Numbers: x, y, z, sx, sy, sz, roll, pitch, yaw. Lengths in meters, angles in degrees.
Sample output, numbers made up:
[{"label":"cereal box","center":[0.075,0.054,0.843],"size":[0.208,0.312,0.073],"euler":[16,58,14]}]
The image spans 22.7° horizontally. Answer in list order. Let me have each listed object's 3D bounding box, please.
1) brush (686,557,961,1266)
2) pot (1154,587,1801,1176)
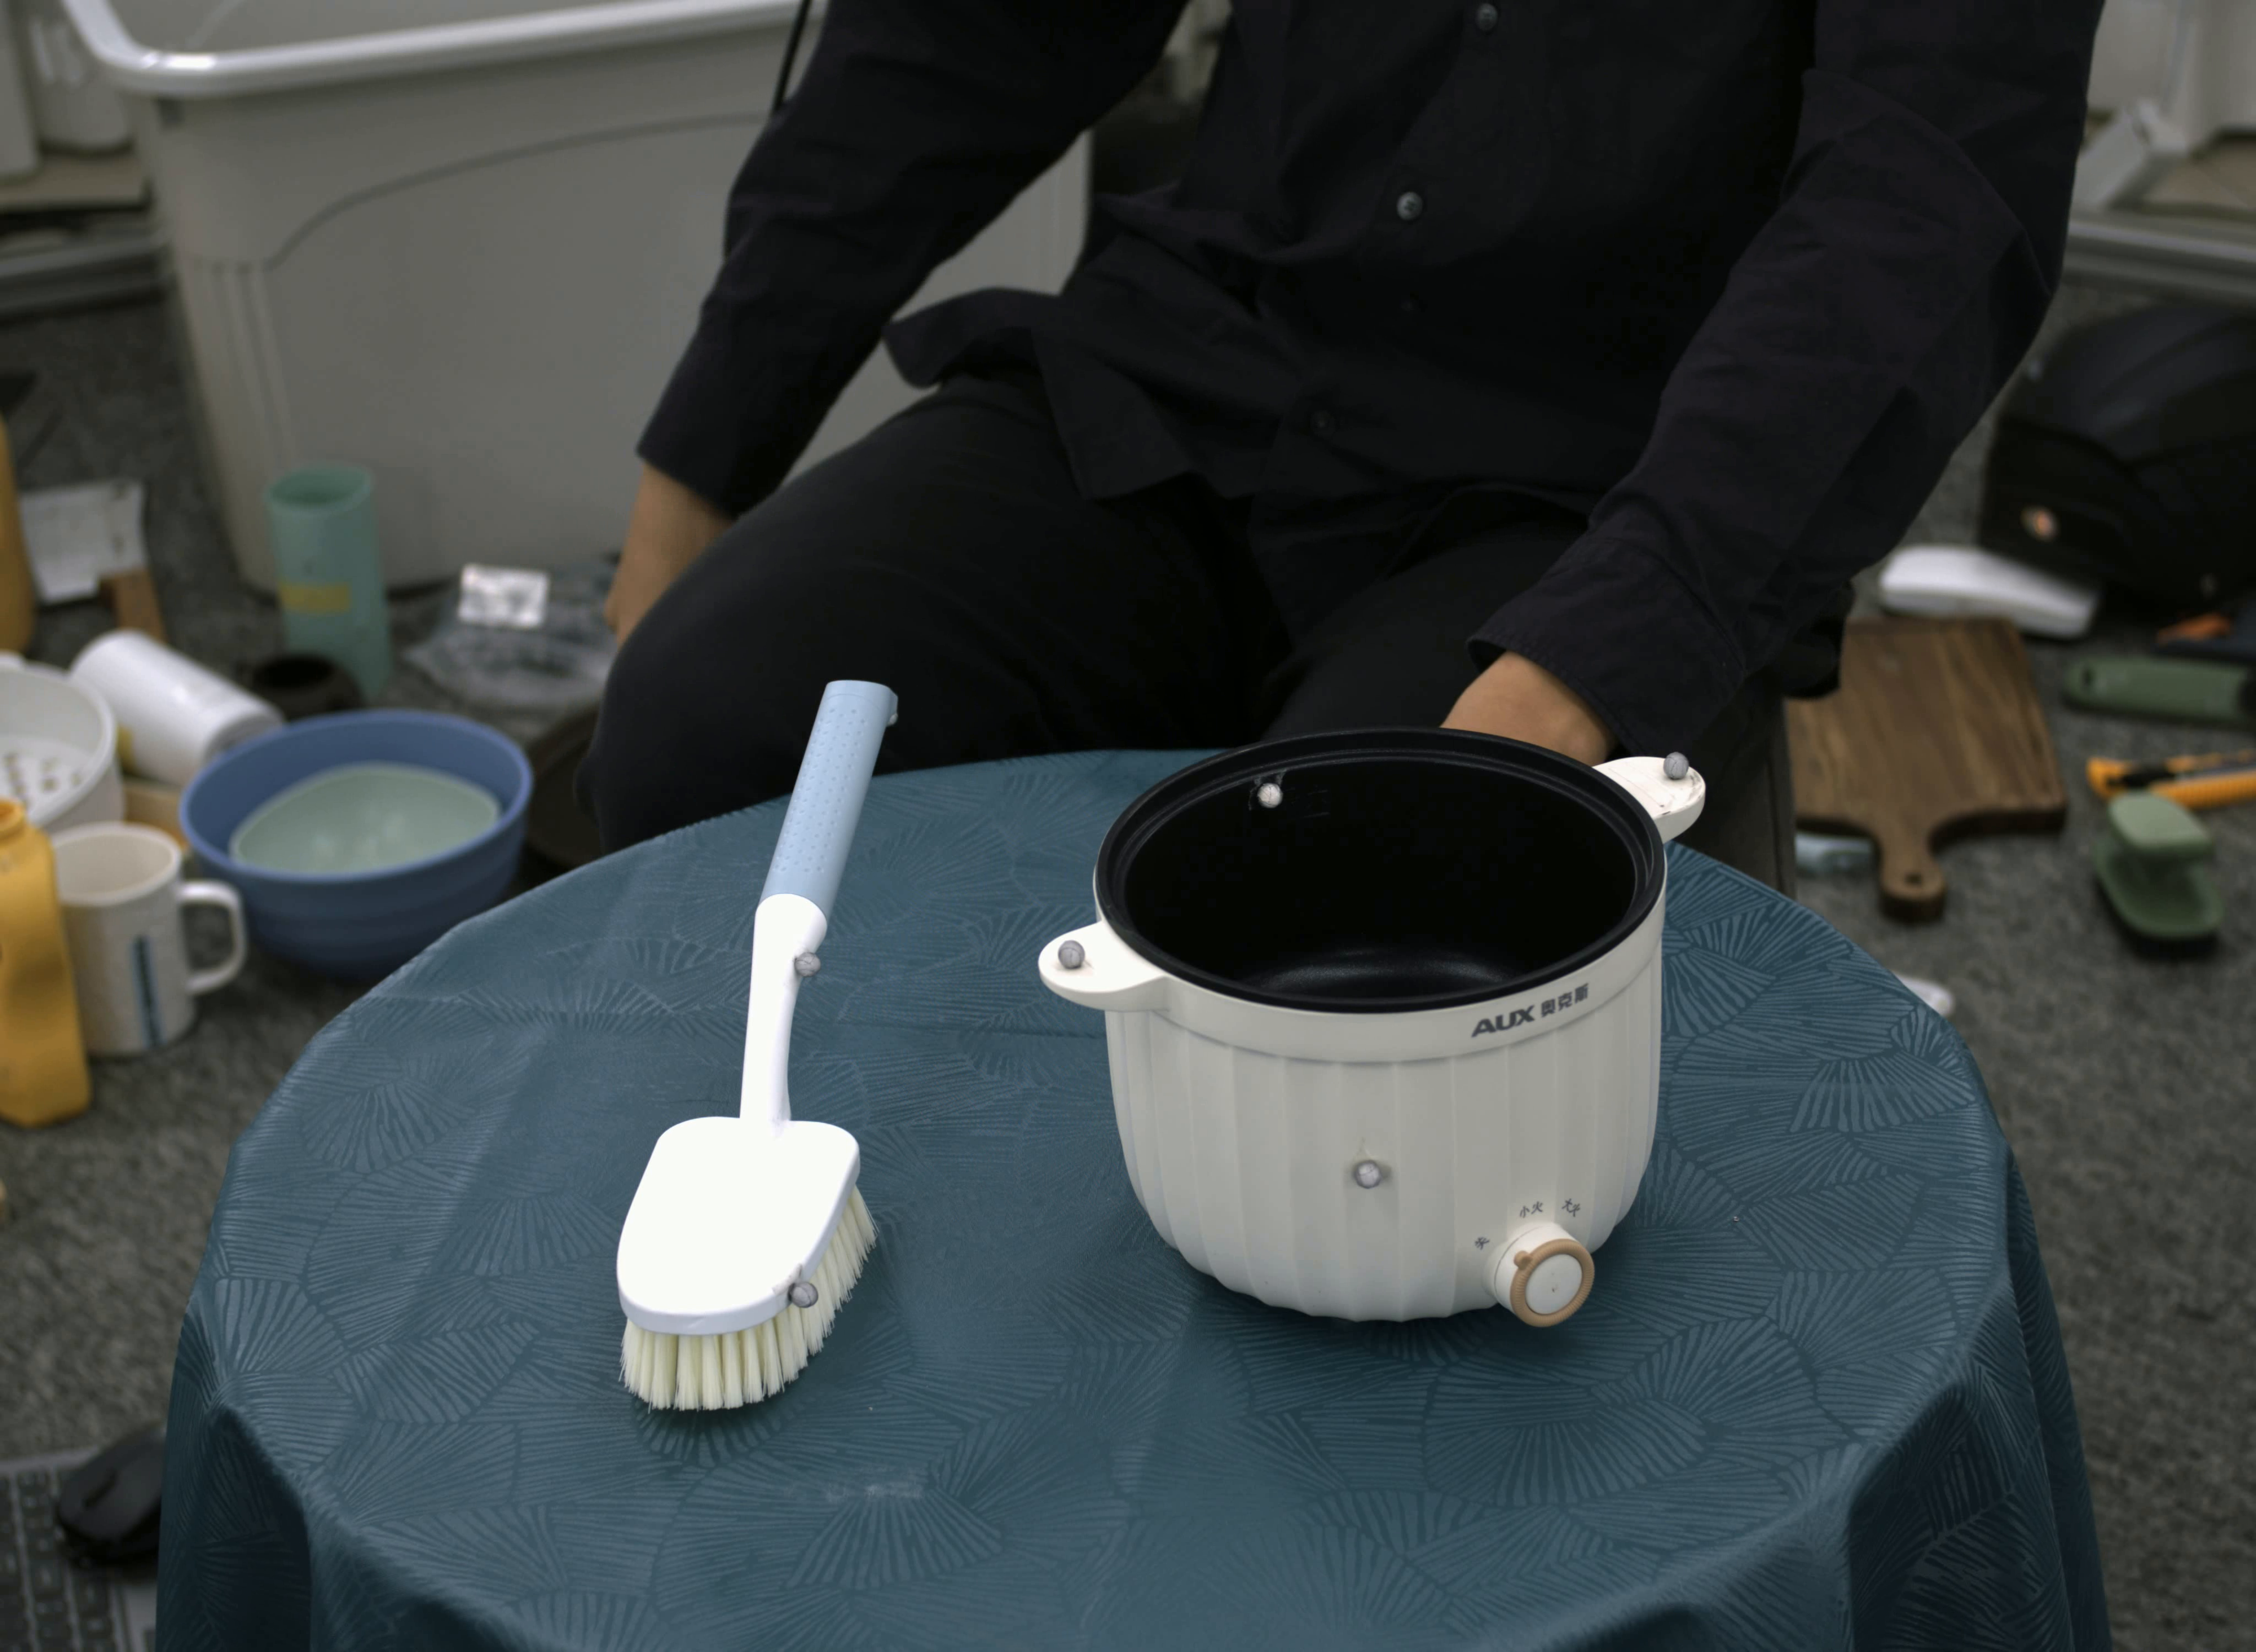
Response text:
[{"label":"brush","center":[-0.087,0.037,1.886],"size":[0.083,0.083,0.332],"euler":[30,38,-14]},{"label":"pot","center":[0.121,0.024,1.820],"size":[0.242,0.141,0.191],"euler":[-19,29,-25]}]
